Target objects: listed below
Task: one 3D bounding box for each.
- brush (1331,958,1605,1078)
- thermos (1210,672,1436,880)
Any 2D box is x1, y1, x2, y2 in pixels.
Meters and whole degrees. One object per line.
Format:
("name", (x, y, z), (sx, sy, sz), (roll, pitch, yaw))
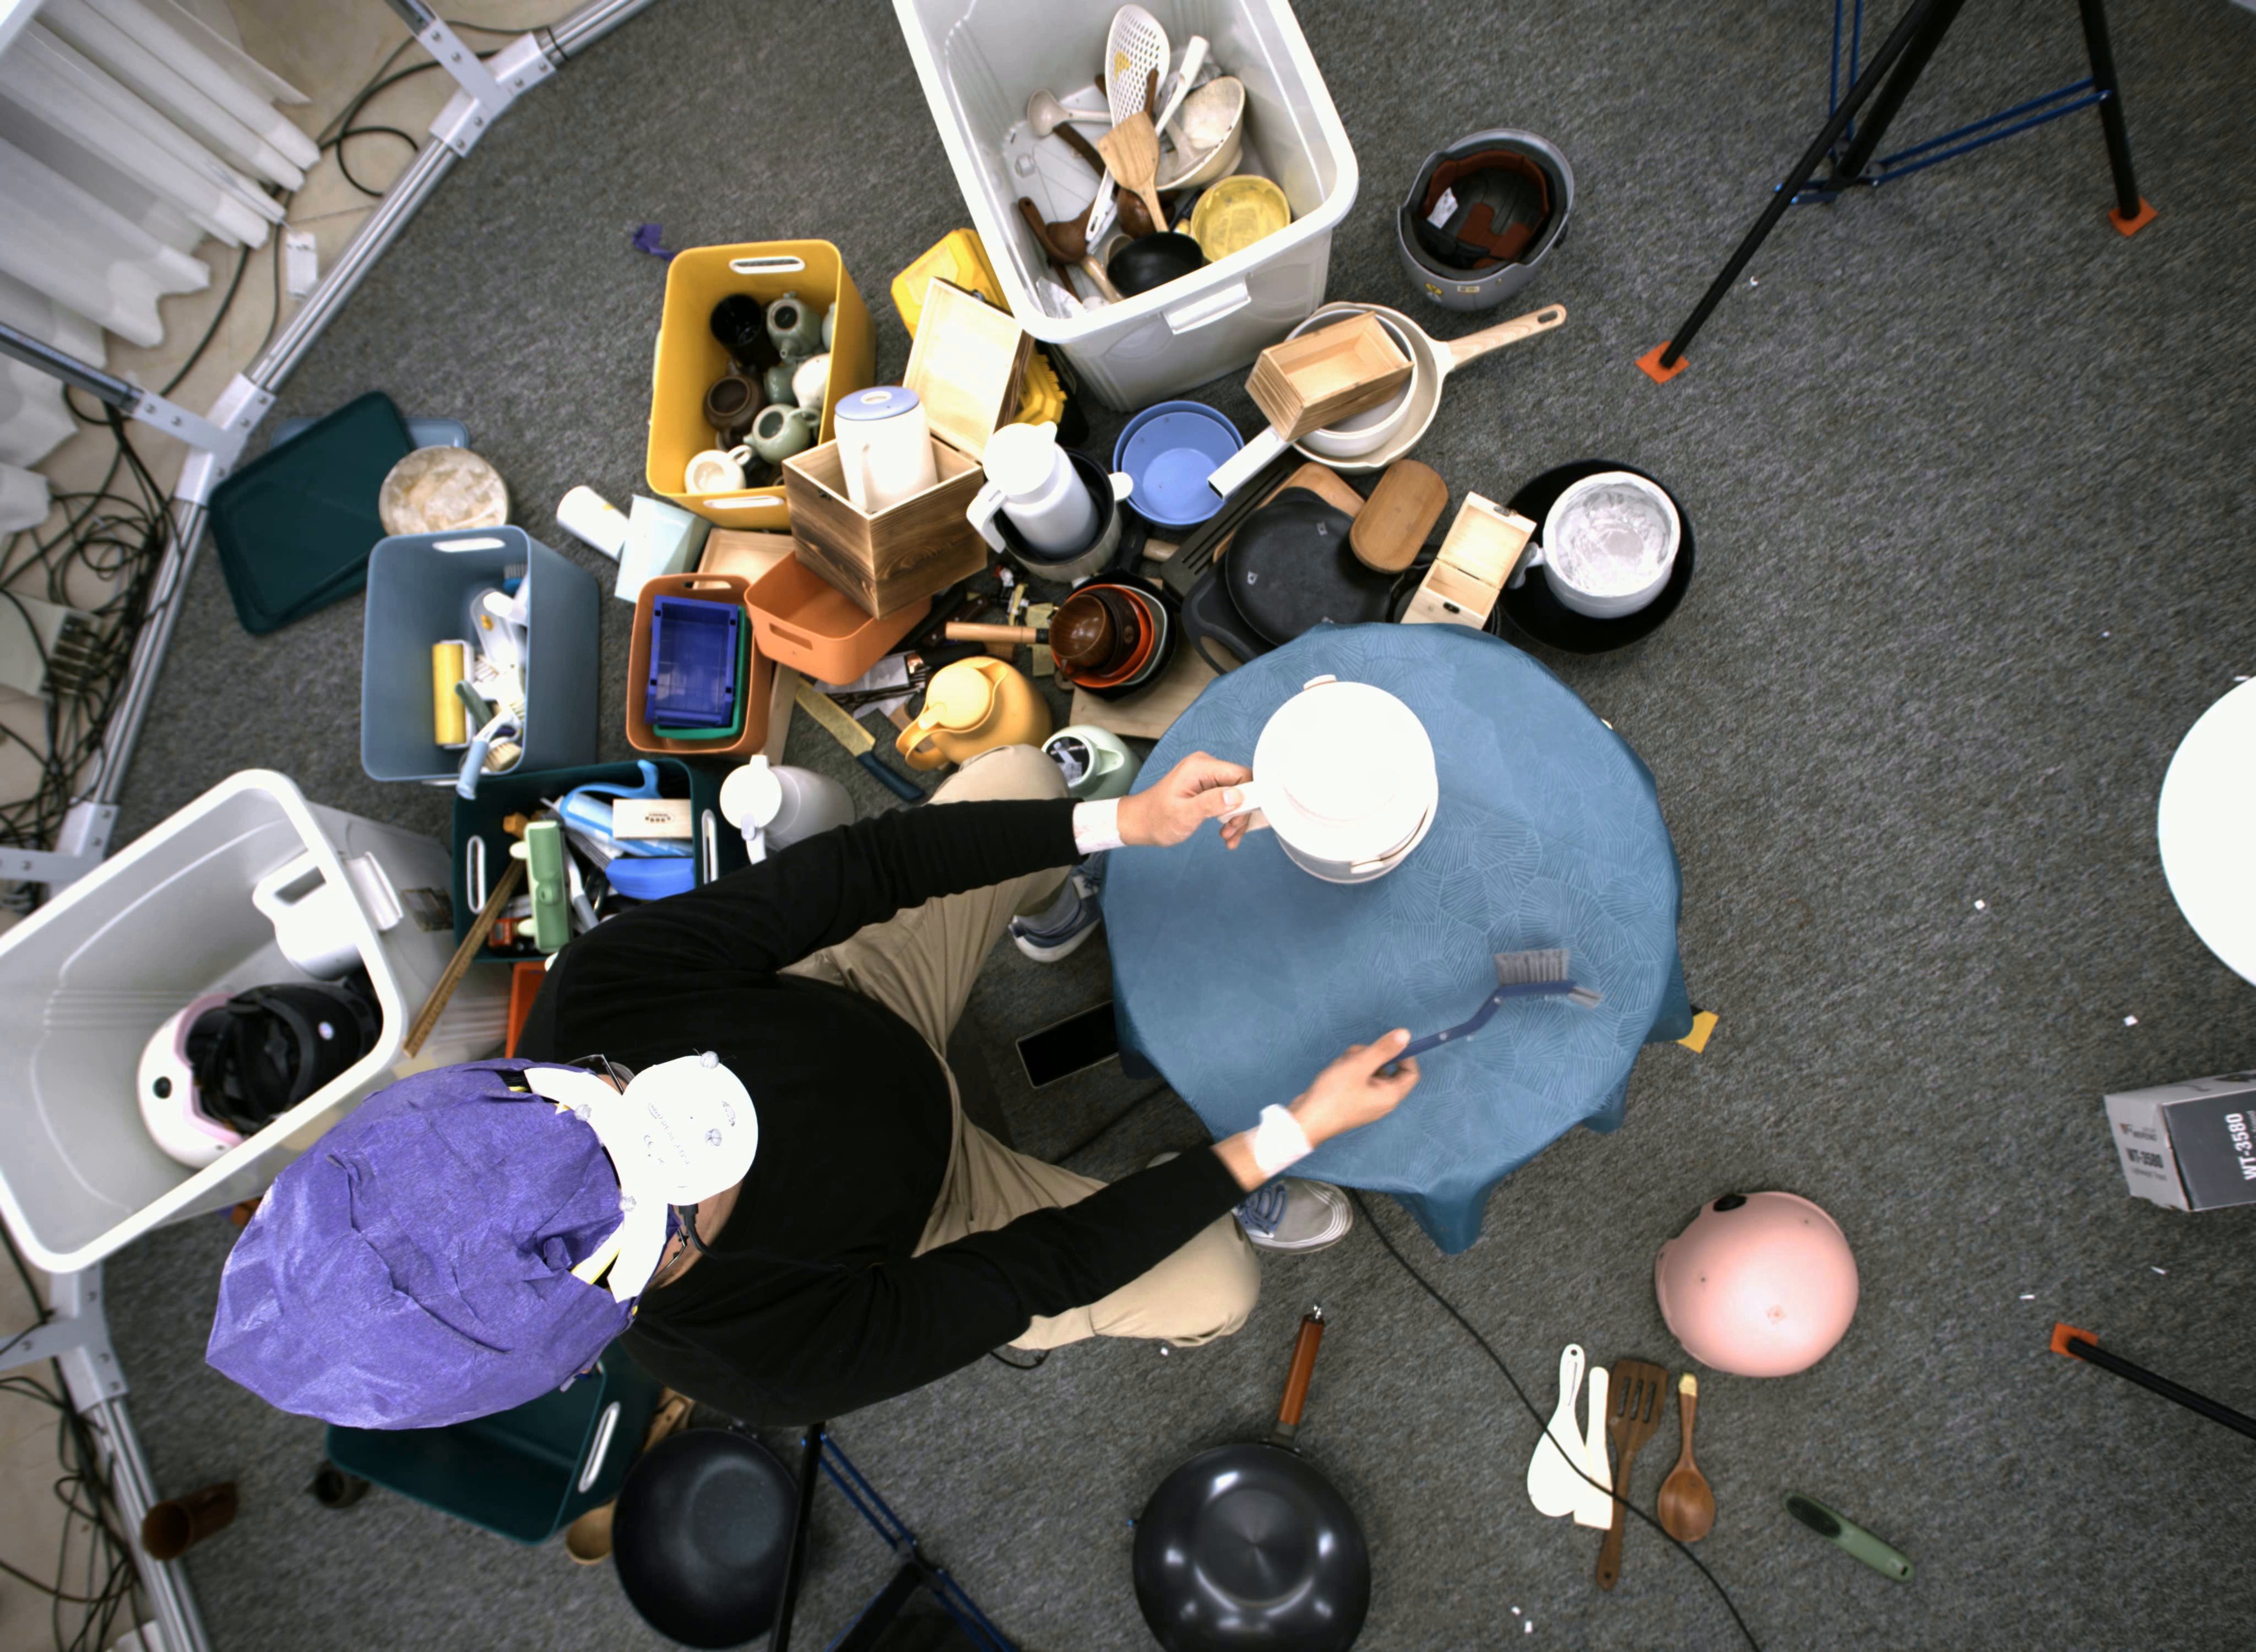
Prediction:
("brush", (0.335, 0.205, 1.366), (0.272, 0.034, 0.095), (-28, 80, -4))
("thermos", (0.185, -0.039, 1.281), (0.208, 0.406, 0.174), (-15, 84, 8))
